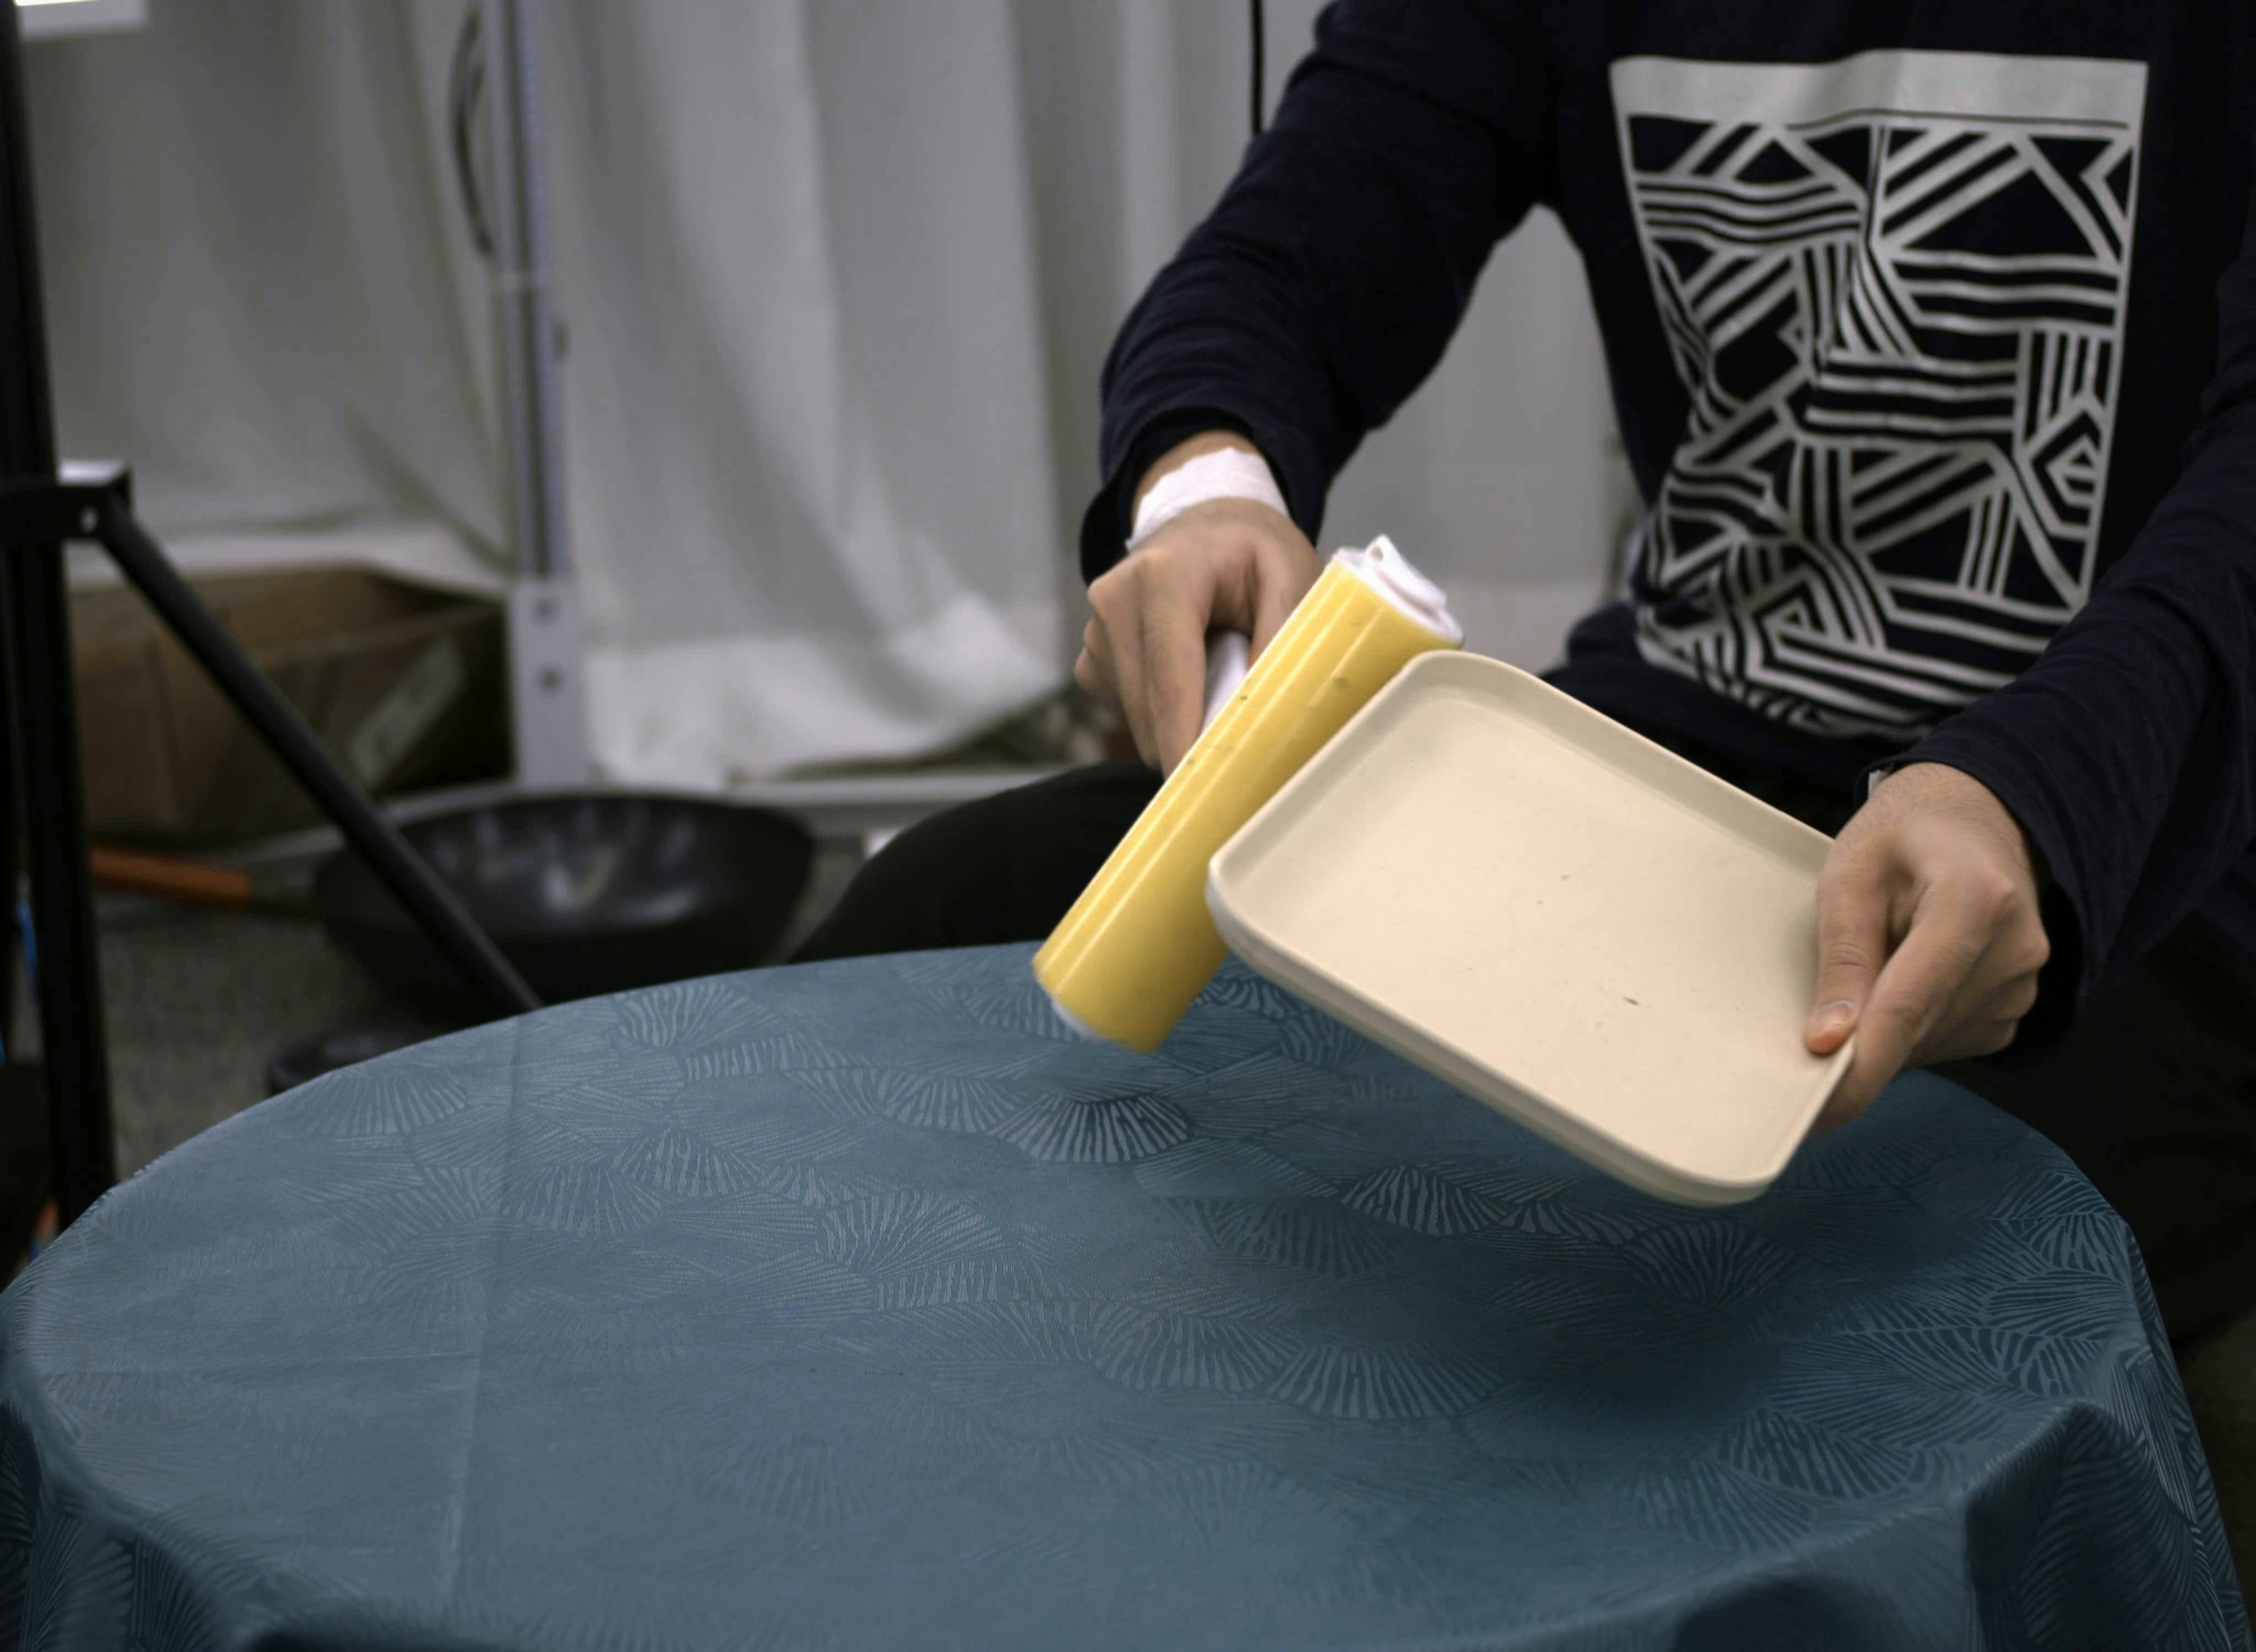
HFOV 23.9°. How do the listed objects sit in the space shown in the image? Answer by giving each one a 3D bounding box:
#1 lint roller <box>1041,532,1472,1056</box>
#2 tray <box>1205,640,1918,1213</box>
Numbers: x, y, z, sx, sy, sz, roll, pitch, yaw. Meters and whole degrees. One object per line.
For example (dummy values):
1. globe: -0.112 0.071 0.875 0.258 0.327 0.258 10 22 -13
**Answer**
1. lint roller: 0.022 -0.035 1.672 0.050 0.175 0.195 30 14 -25
2. tray: 0.122 0.025 1.455 0.172 0.017 0.237 30 27 10
